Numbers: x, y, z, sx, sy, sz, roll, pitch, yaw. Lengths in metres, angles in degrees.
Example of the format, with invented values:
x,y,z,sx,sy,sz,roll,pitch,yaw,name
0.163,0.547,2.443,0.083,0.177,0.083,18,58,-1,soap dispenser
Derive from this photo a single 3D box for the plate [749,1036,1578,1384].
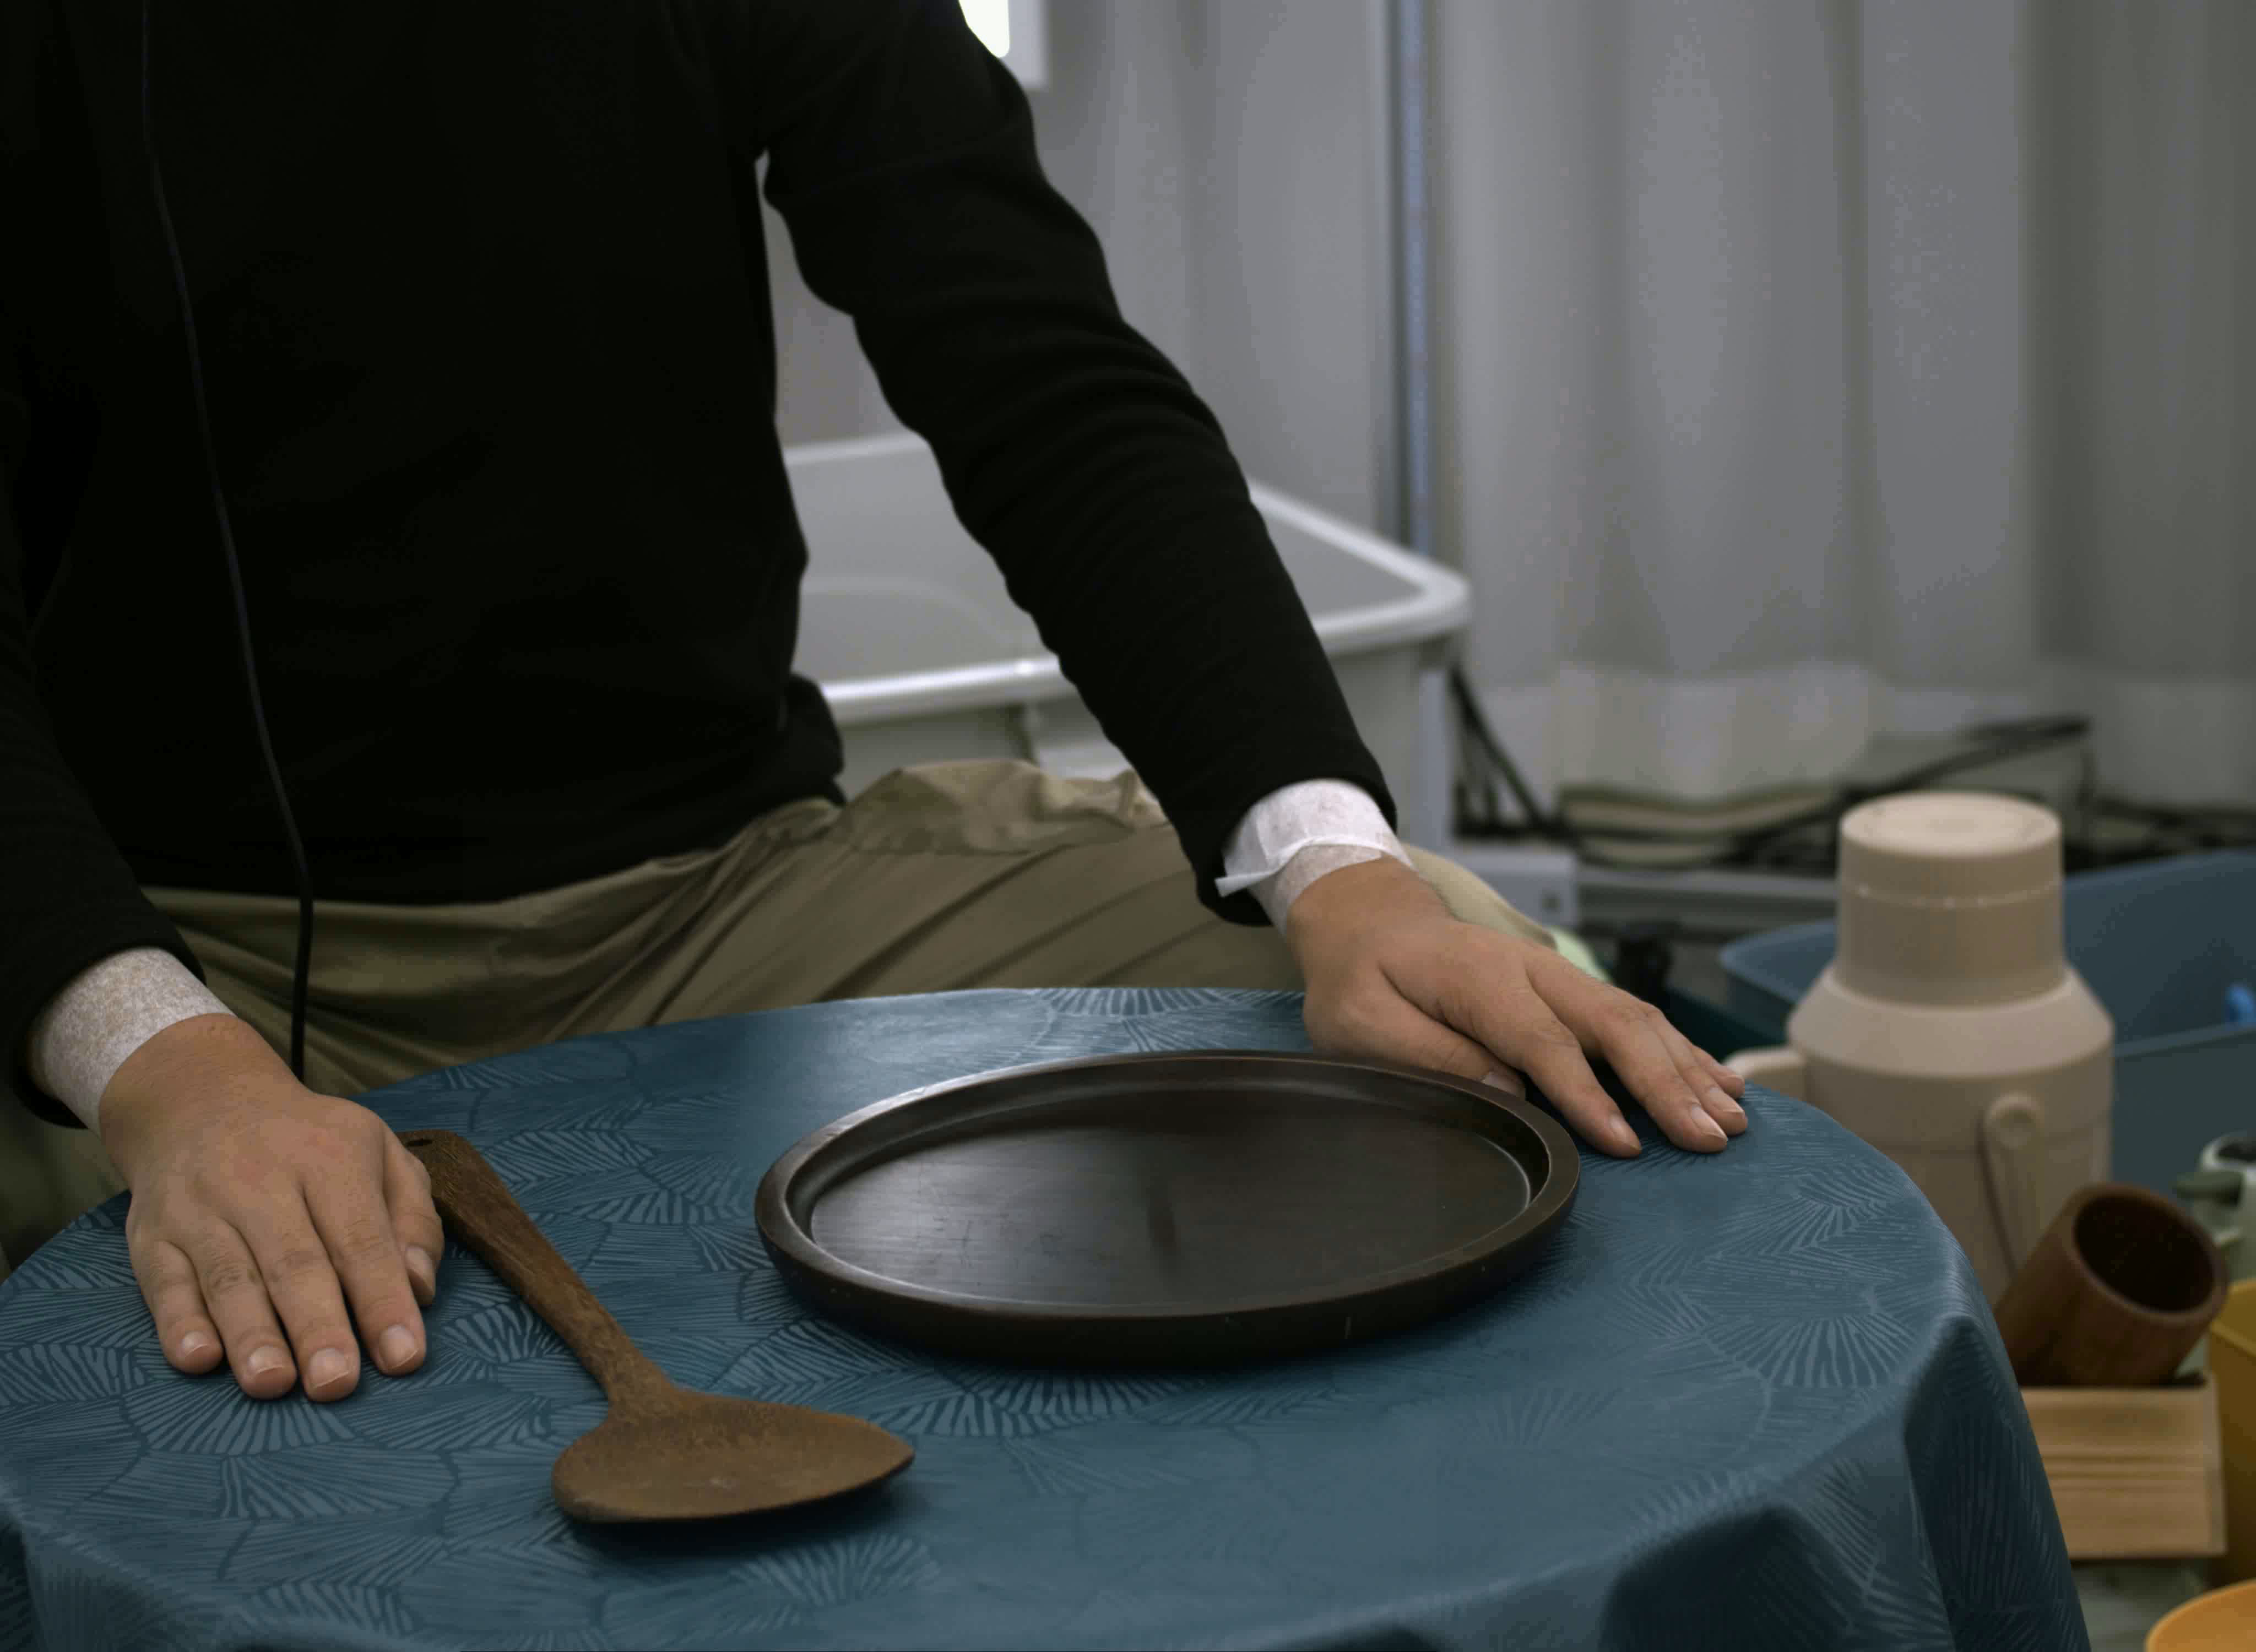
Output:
x,y,z,sx,sy,sz,roll,pitch,yaw,name
0.011,0.116,1.665,0.254,0.029,0.256,-4,16,1,plate

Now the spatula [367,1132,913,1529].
x,y,z,sx,sy,sz,roll,pitch,yaw,name
-0.166,0.142,1.615,0.095,0.016,0.389,-8,15,-21,spatula
